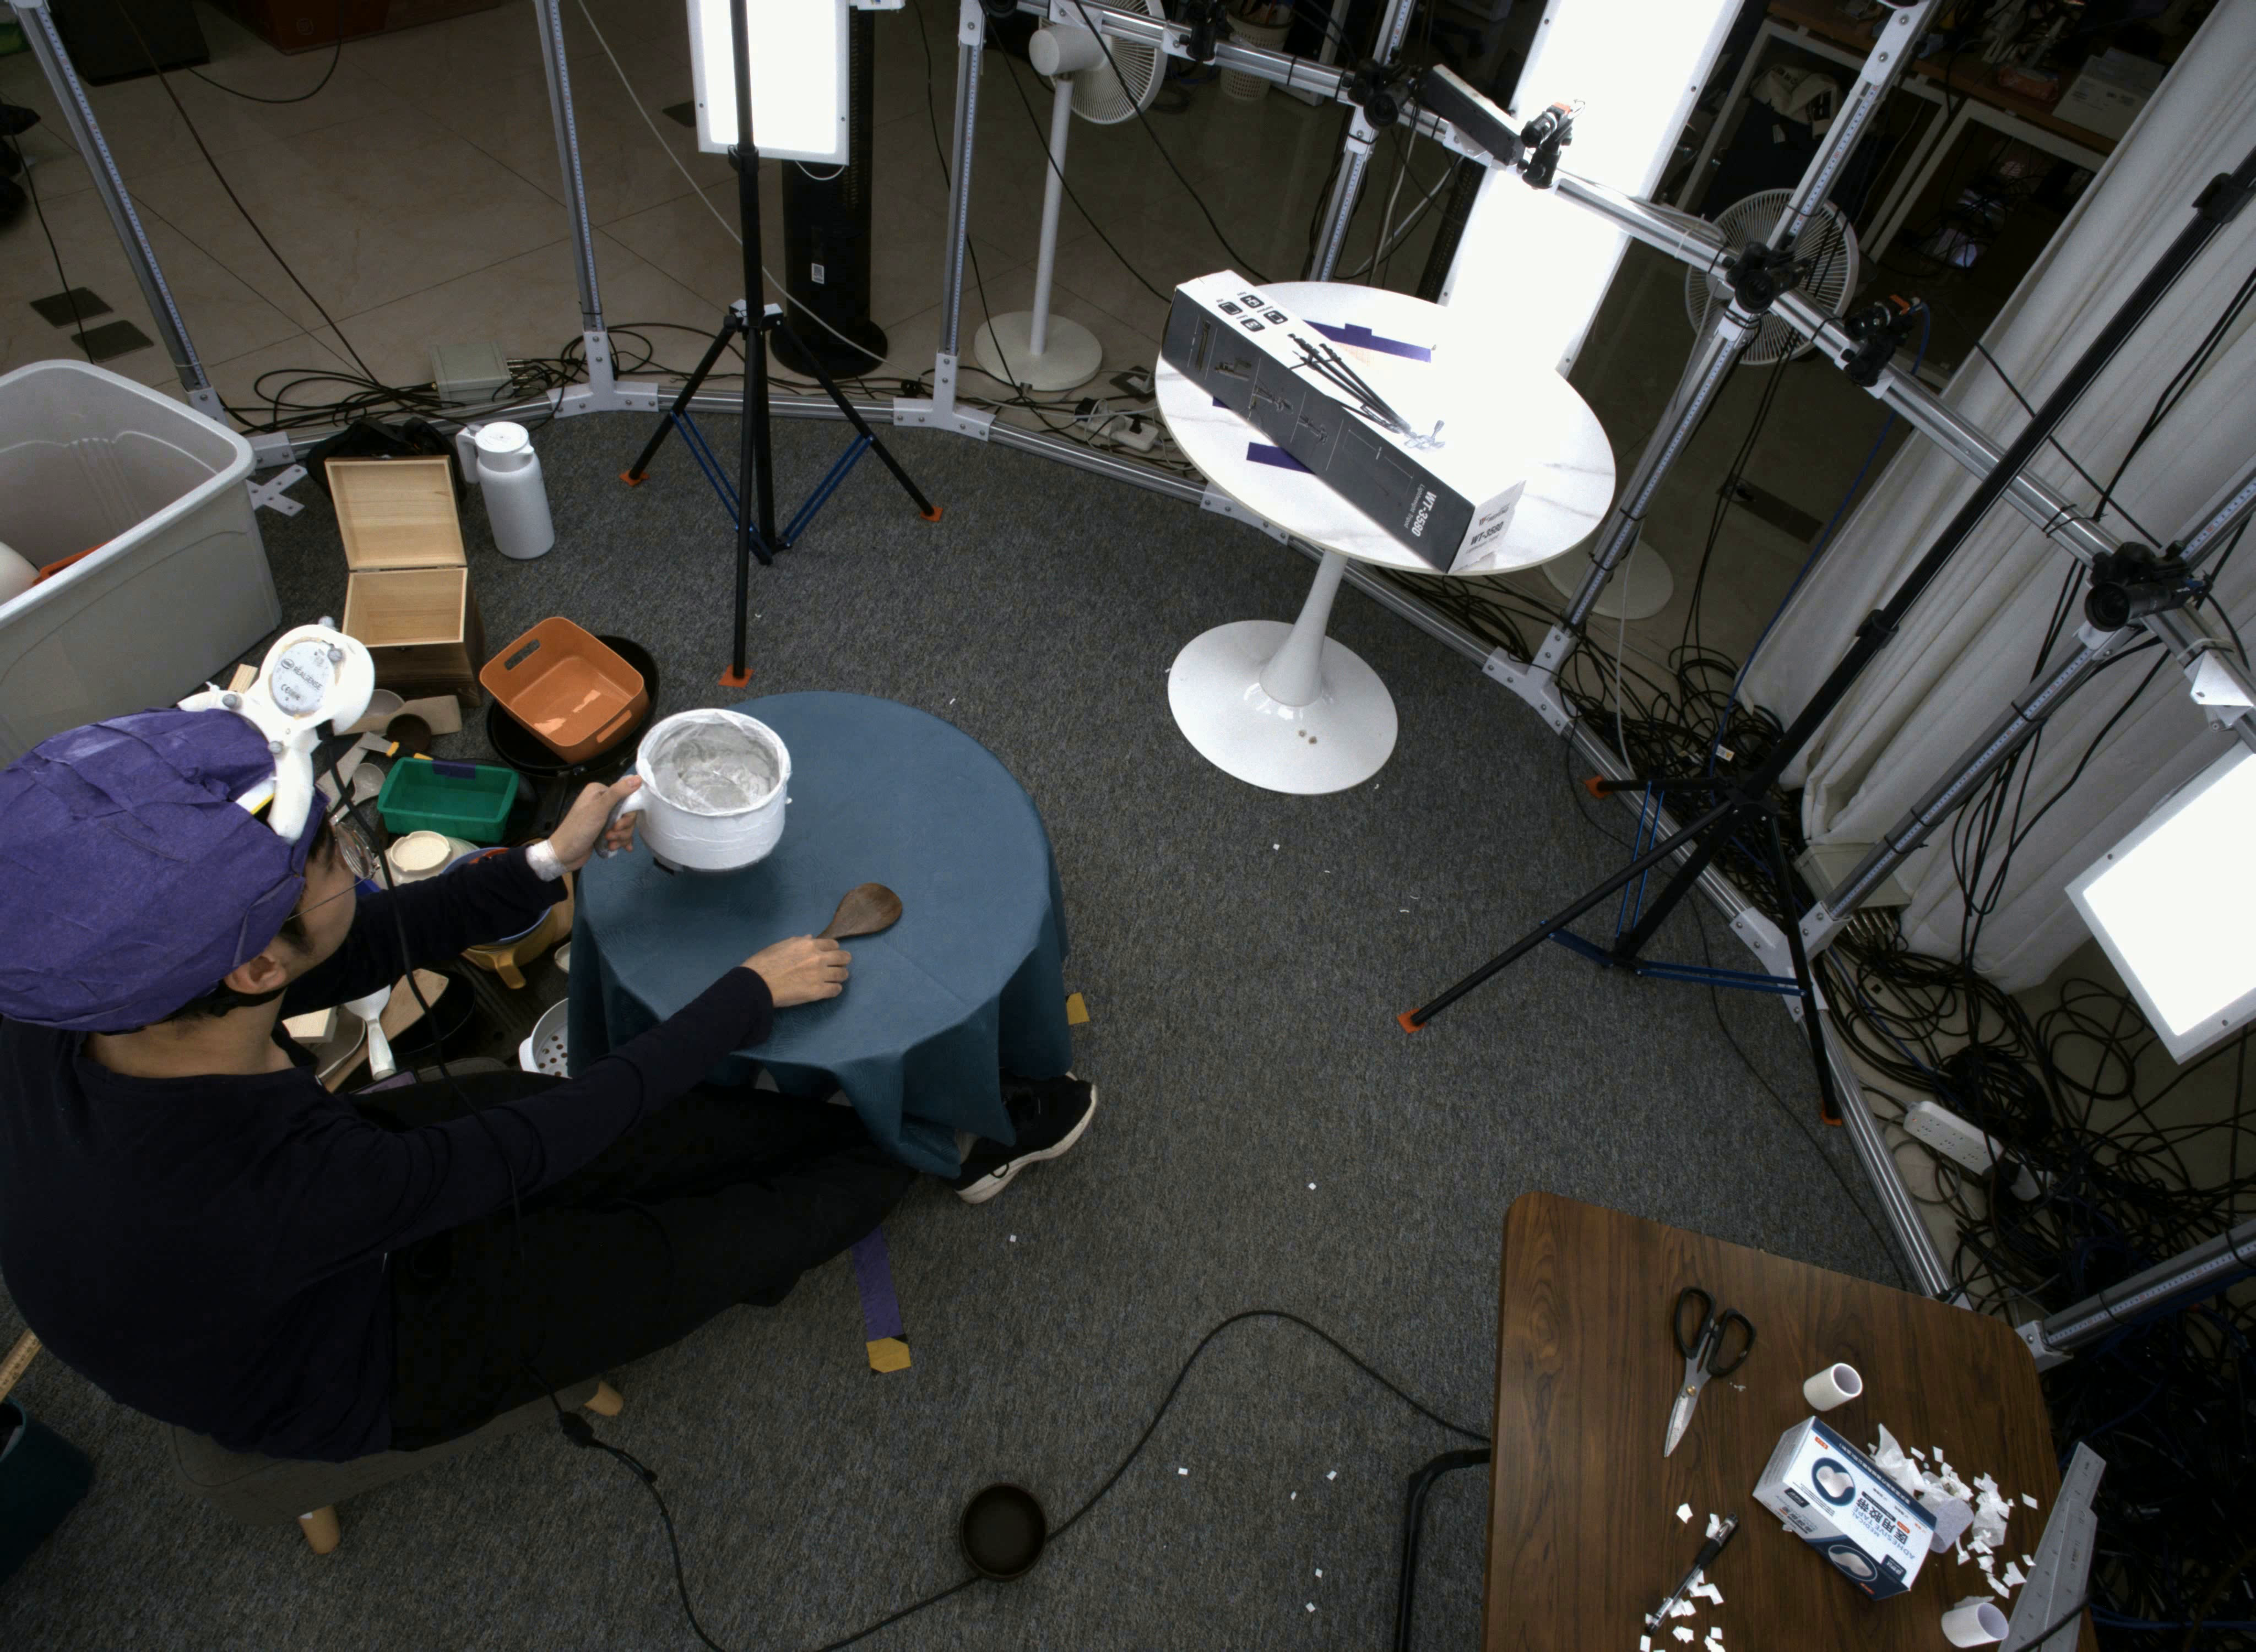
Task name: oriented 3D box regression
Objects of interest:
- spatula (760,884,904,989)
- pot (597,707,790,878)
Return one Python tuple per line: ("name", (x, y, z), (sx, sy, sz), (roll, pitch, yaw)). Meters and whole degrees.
("spatula", (-0.378, 0.139, 1.641), (0.070, 0.009, 0.216), (41, 56, 20))
("pot", (-0.528, -0.031, 1.555), (0.236, 0.139, 0.173), (-19, 55, -35))
